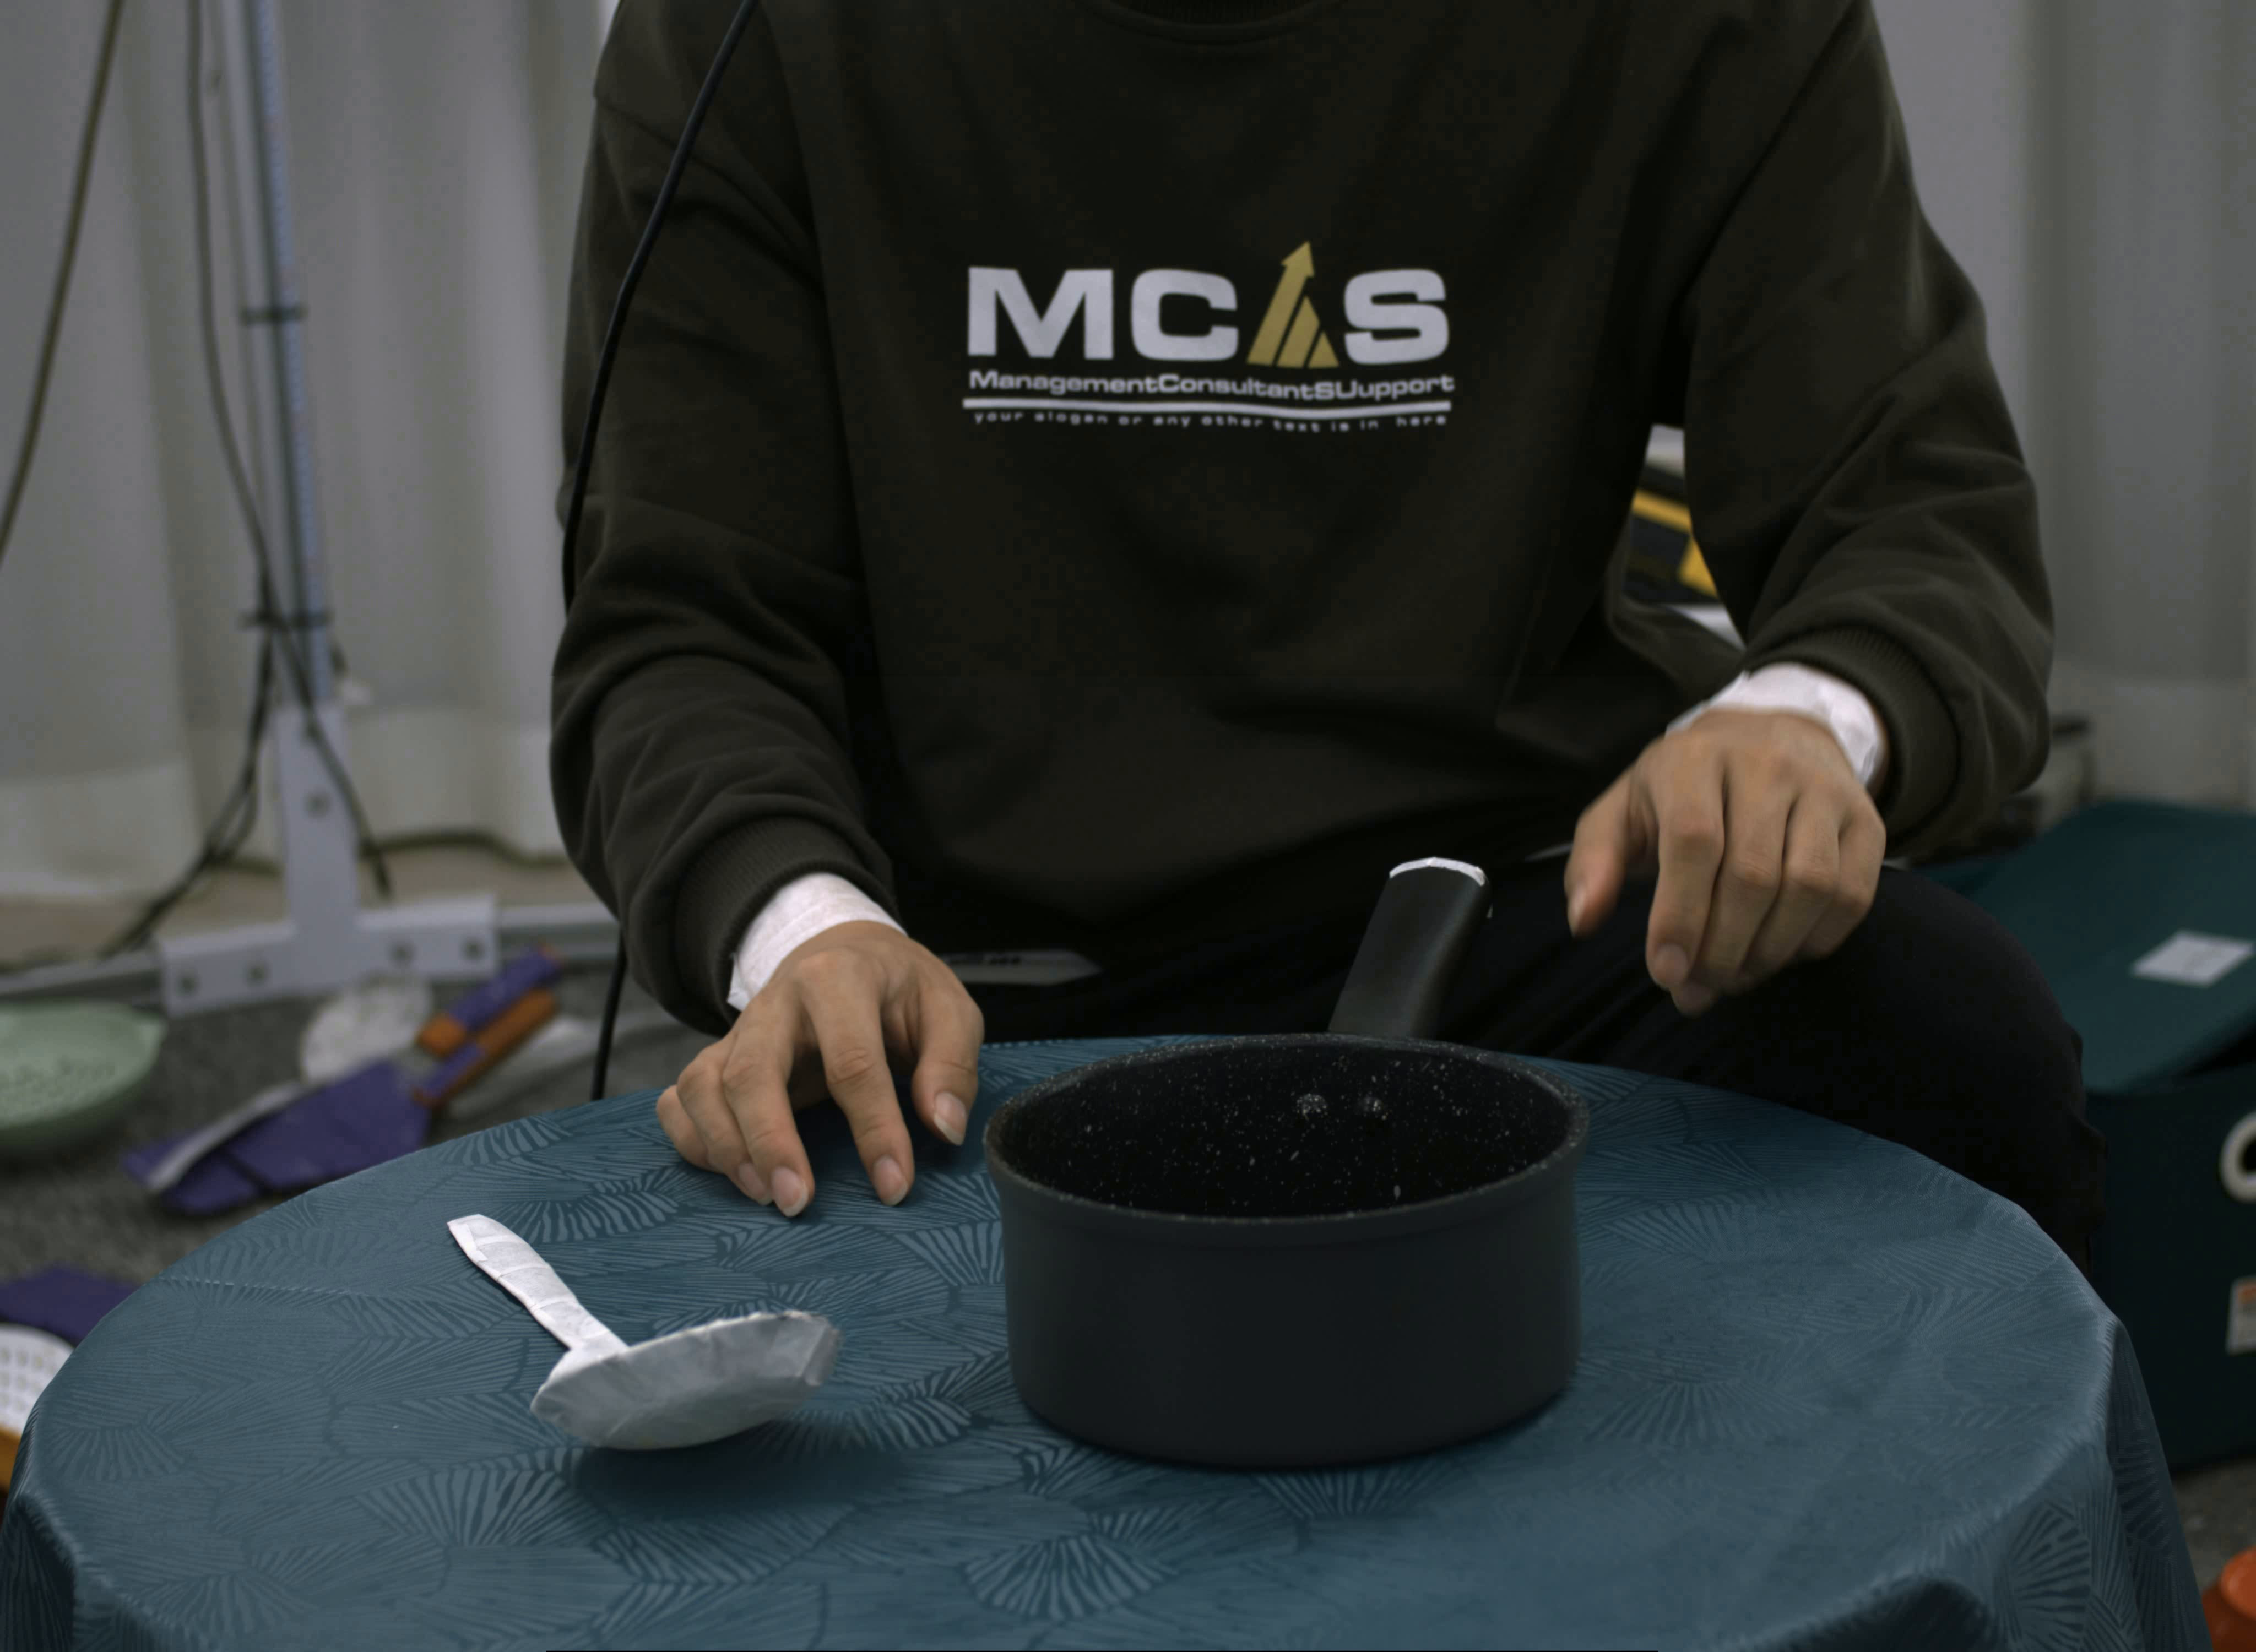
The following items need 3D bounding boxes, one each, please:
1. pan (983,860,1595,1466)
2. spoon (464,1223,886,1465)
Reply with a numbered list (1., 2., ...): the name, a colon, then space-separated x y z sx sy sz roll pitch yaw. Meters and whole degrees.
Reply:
1. pan: 0.068 0.095 1.616 0.172 0.086 0.330 3 16 16
2. spoon: -0.147 0.133 1.594 0.100 0.059 0.279 3 11 -21
